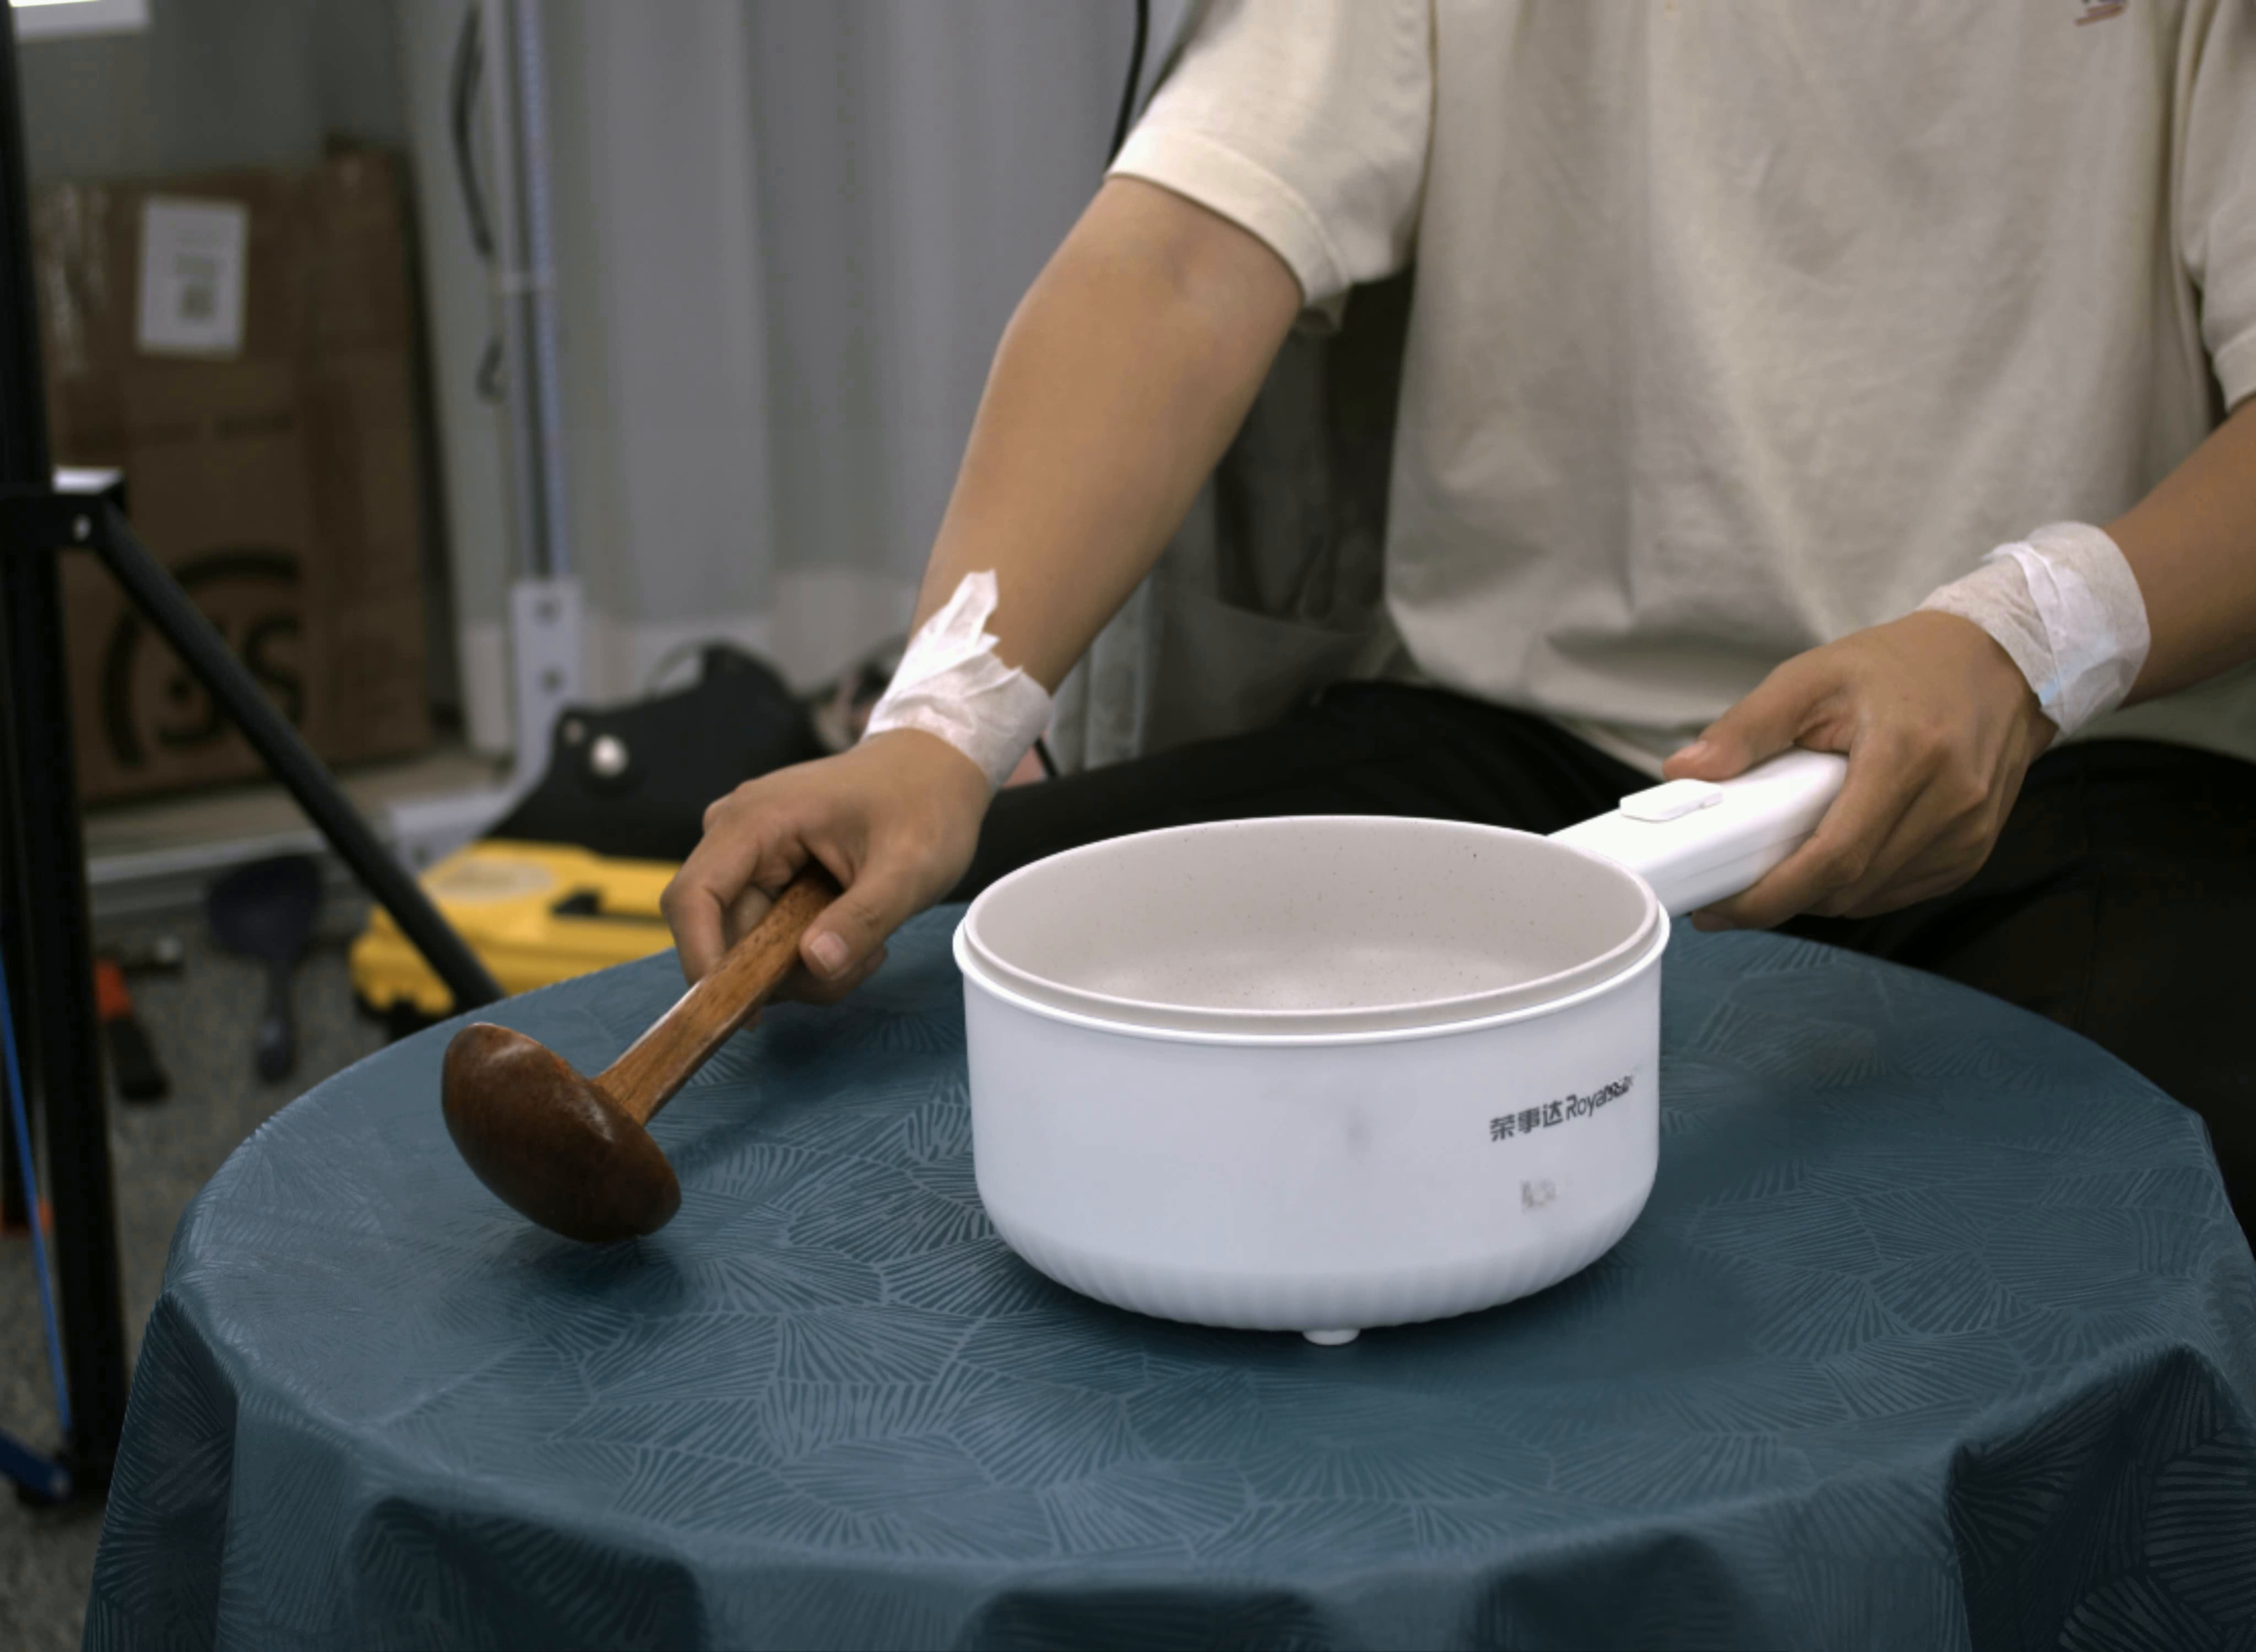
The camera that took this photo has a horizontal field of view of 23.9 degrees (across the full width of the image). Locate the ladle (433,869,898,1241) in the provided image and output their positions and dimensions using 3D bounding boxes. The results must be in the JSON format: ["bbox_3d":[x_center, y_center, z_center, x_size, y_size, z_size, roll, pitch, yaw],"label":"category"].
[{"bbox_3d":[-0.122,0.048,1.603,0.077,0.082,0.270,-45,-3,33],"label":"ladle"}]

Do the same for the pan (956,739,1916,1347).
[{"bbox_3d":[0.107,0.056,1.543,0.346,0.102,0.206,-16,19,-42],"label":"pan"}]
